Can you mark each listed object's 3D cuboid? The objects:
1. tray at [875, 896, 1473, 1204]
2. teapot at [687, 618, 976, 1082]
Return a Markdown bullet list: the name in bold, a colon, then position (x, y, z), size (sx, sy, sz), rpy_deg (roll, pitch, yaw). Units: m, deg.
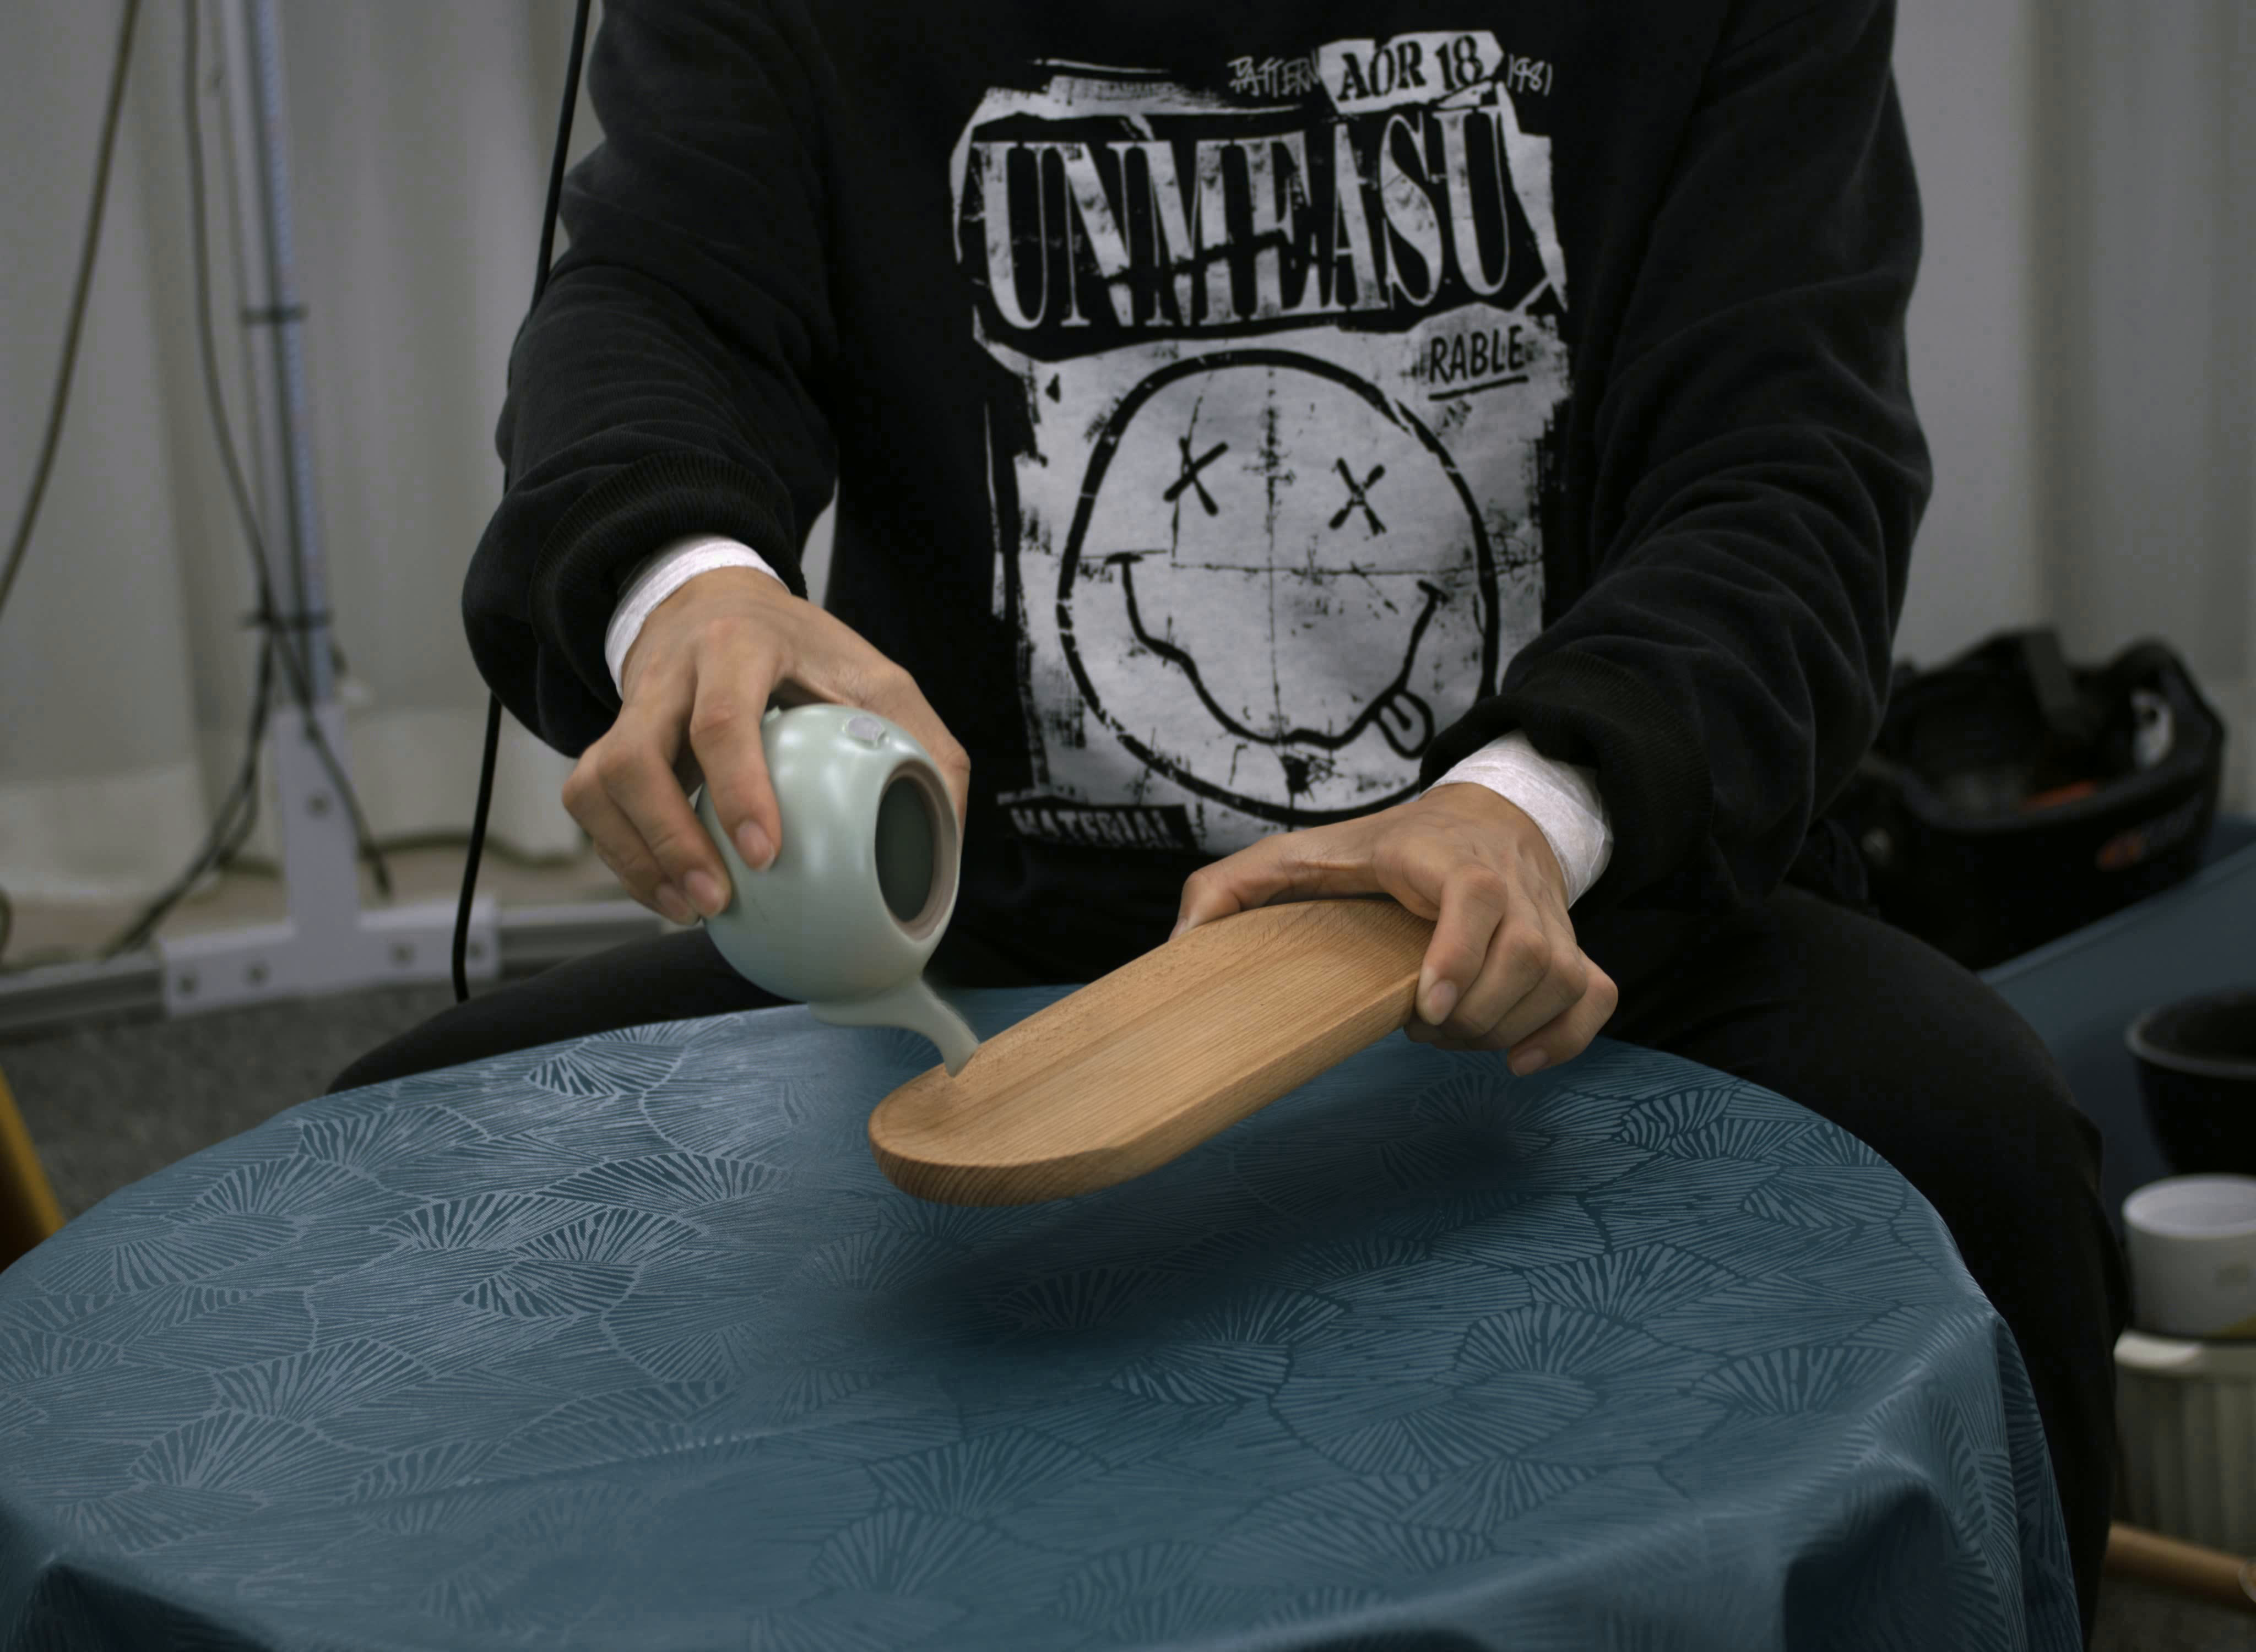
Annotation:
- **tray**: position (0.017, 0.065, 1.646), size (0.102, 0.020, 0.231), rpy_deg (8, 22, 38)
- **teapot**: position (-0.088, 0.008, 1.612), size (0.075, 0.143, 0.088), rpy_deg (-1, 17, 23)
